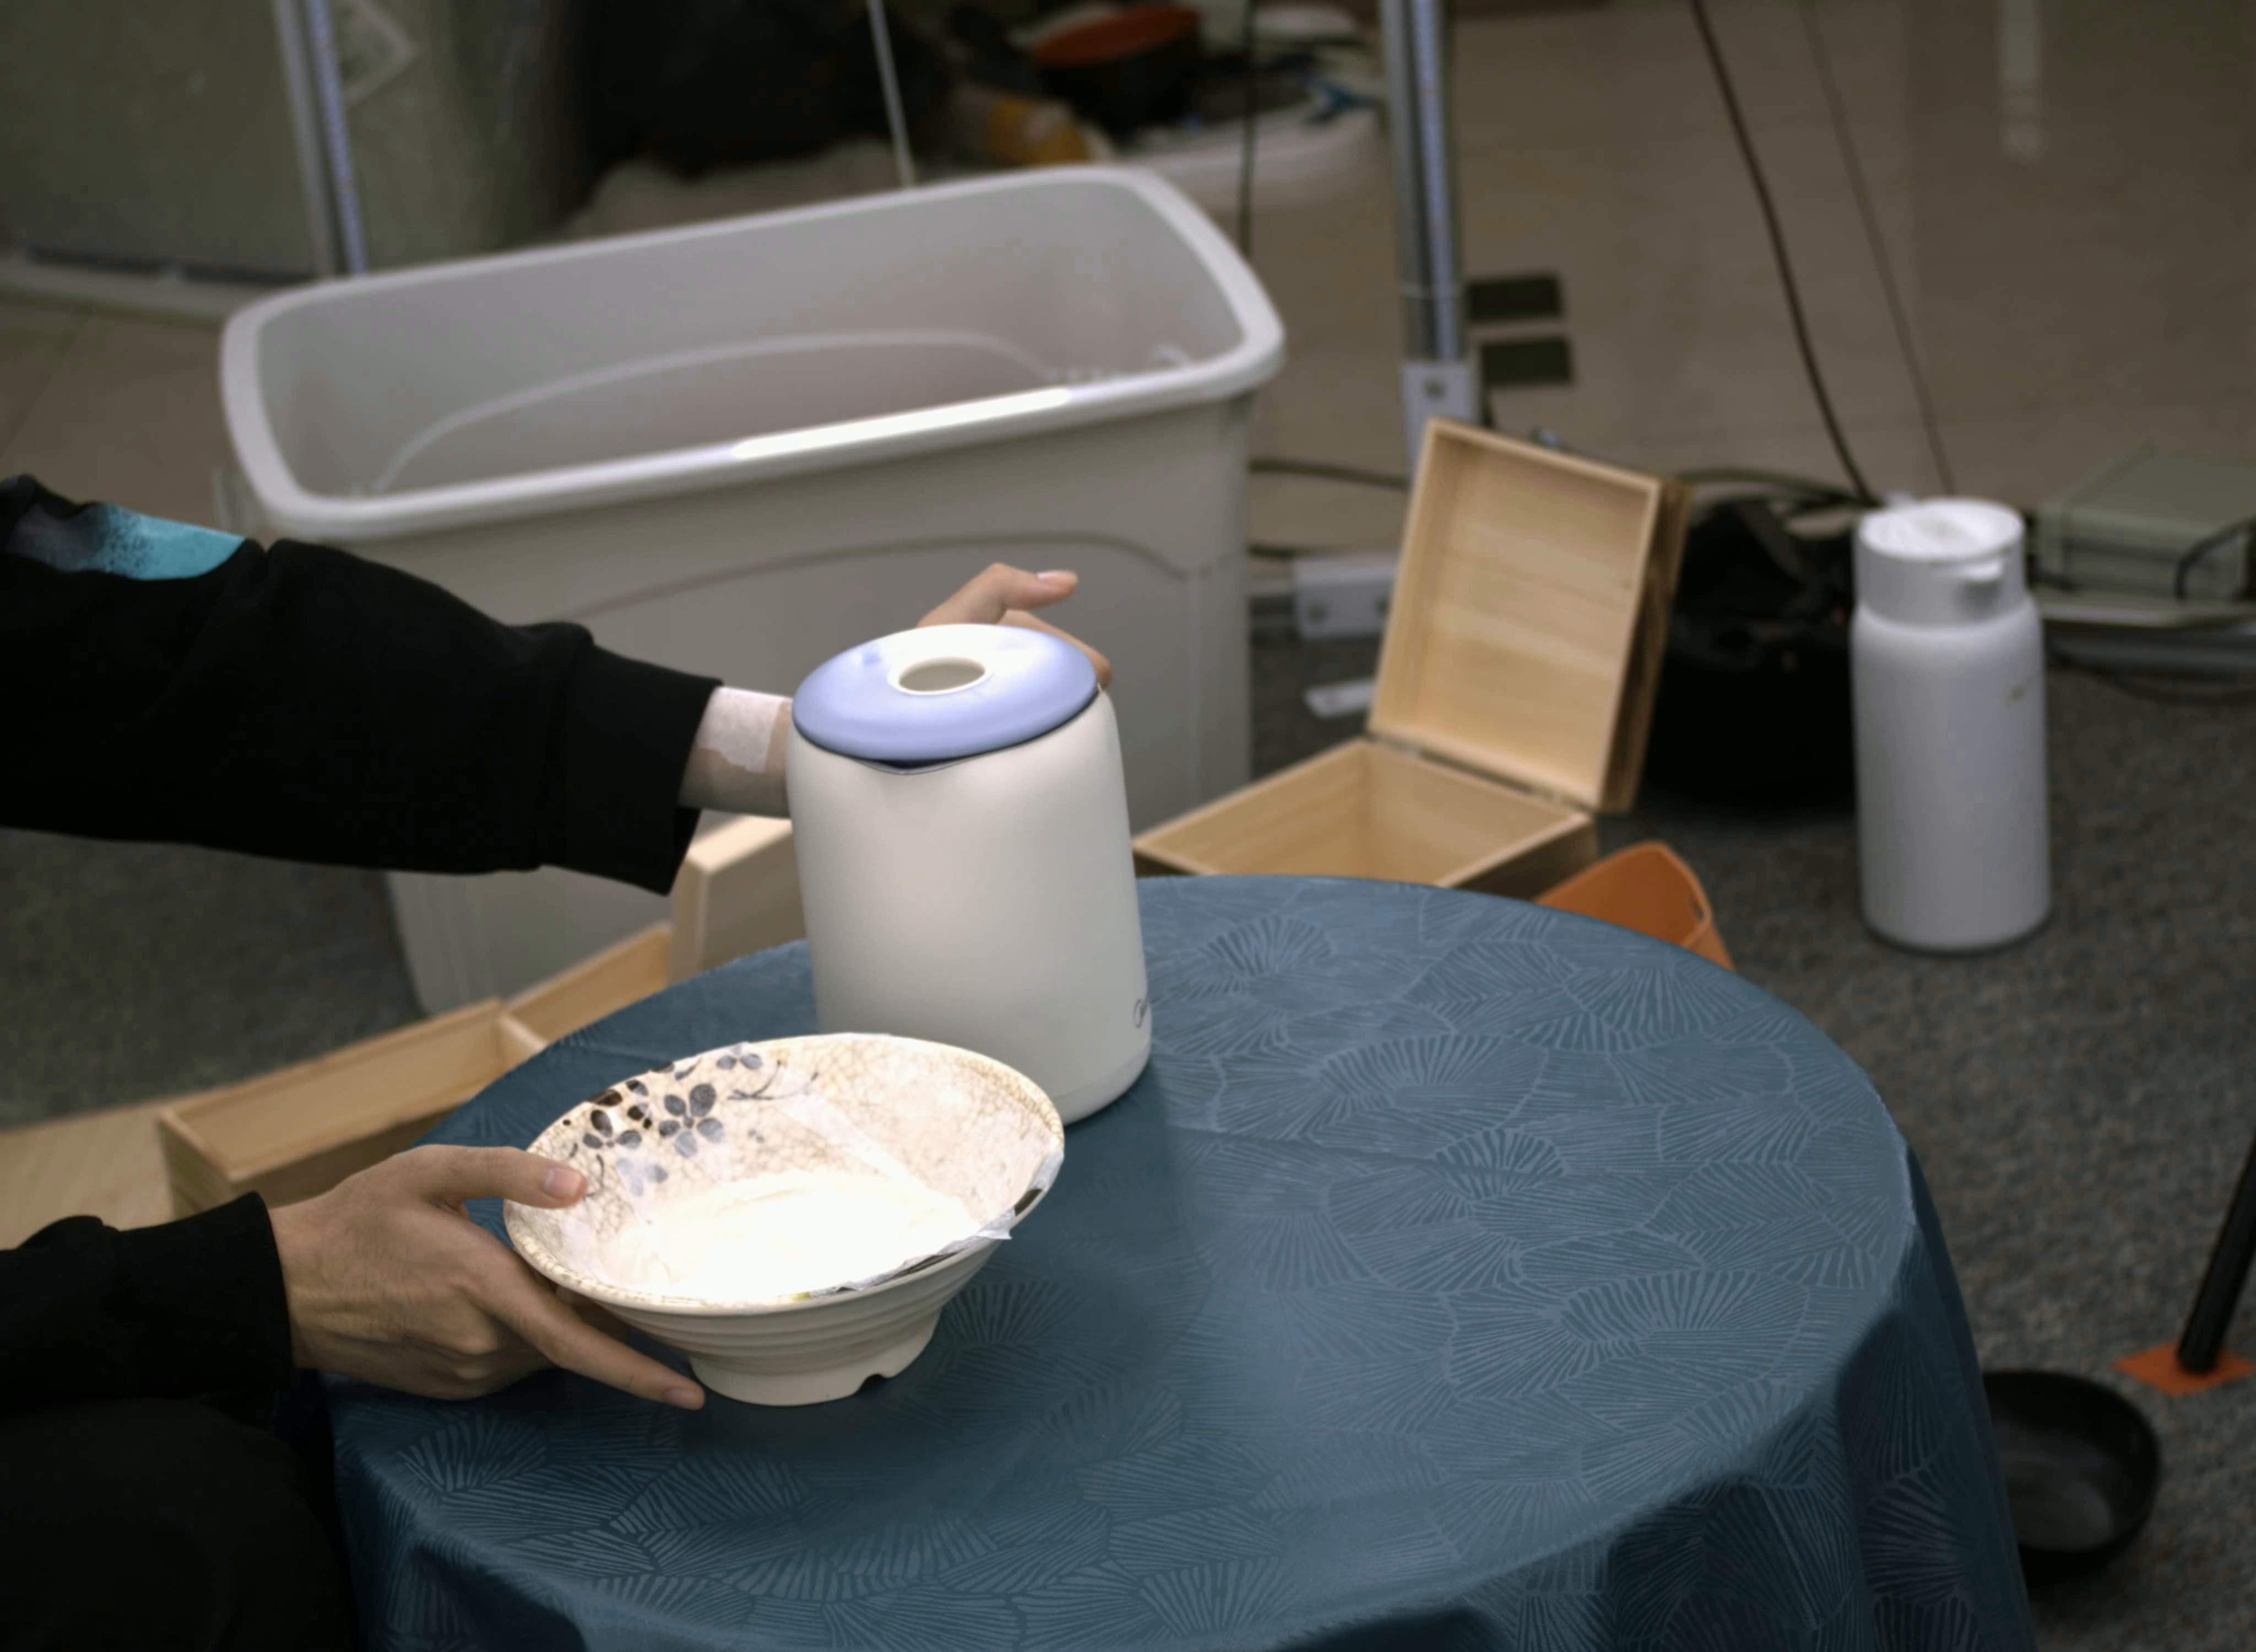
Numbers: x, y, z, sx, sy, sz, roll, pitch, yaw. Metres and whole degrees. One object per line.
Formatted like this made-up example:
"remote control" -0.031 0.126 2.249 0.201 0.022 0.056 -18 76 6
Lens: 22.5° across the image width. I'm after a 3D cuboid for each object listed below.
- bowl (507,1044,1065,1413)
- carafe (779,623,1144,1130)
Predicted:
"bowl" -0.117 0.157 2.047 0.204 0.079 0.201 -8 24 4
"carafe" -0.061 0.012 2.226 0.132 0.185 0.188 0 24 10
